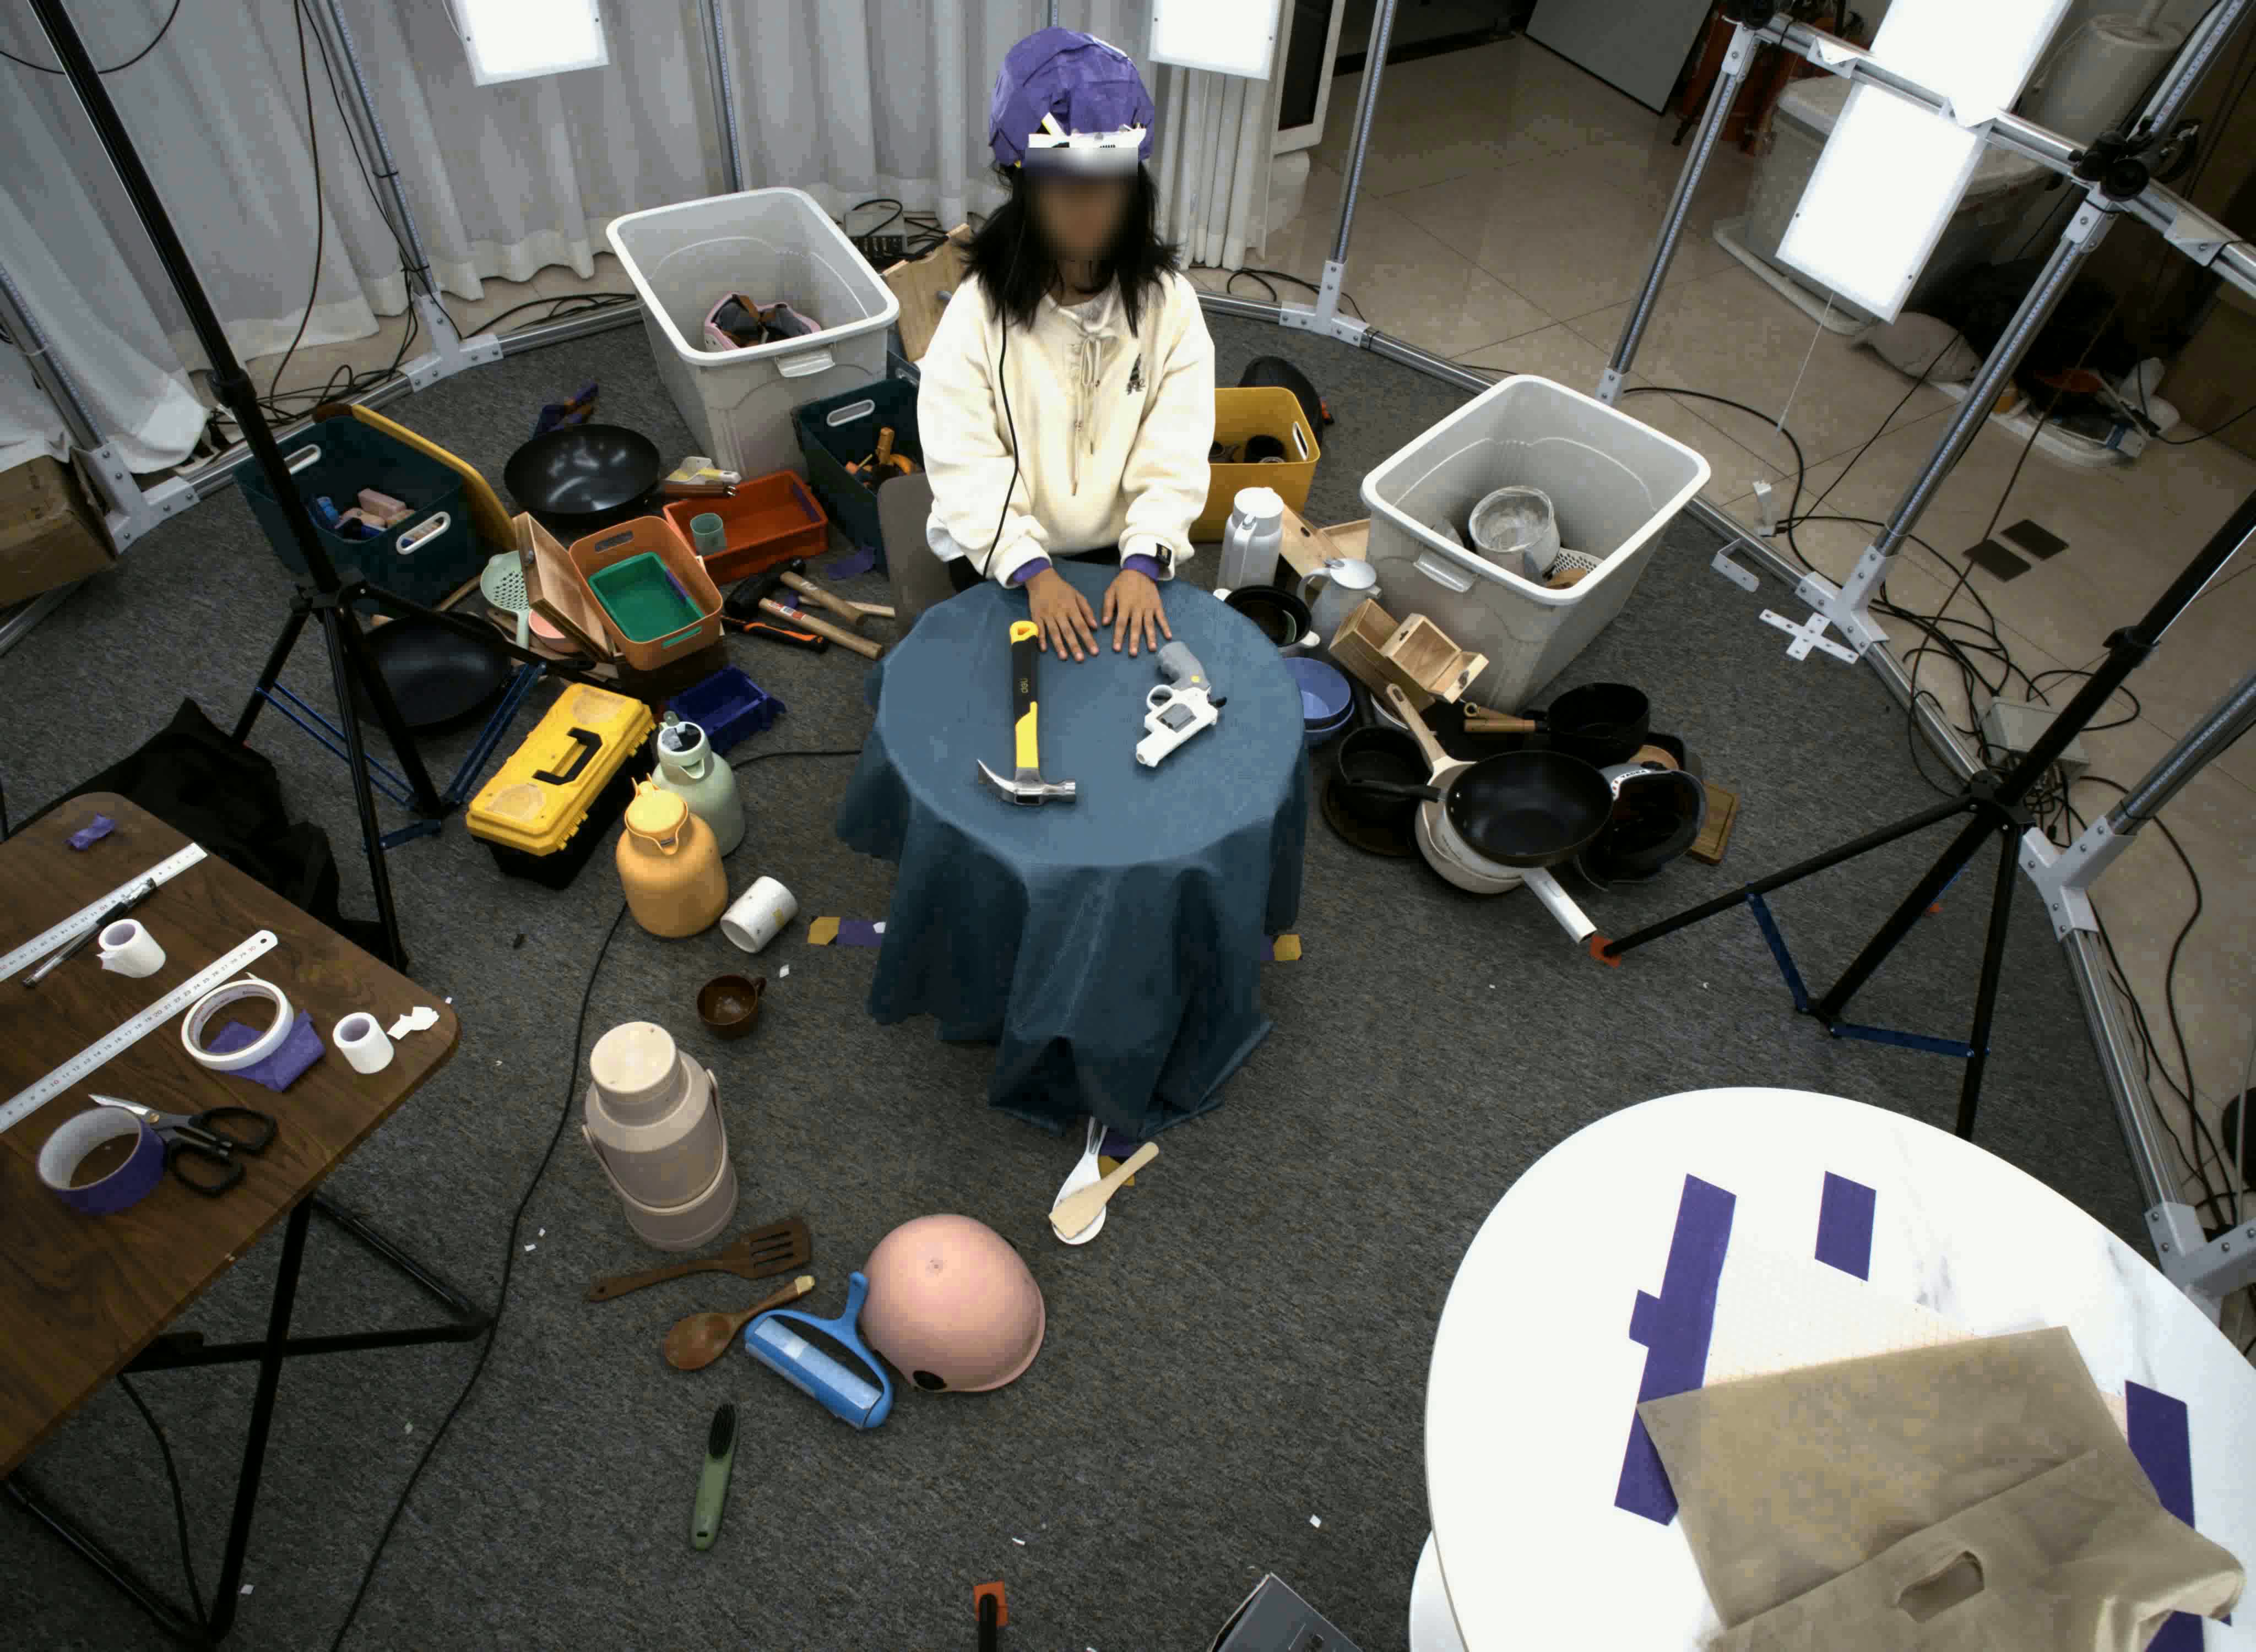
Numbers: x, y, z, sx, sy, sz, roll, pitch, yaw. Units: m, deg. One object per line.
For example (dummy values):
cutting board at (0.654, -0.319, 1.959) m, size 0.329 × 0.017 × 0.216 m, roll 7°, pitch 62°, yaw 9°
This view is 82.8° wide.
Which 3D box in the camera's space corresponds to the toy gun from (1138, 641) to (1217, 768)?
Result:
toy gun at (0.053, -0.173, 1.798) m, size 0.143 × 0.038 × 0.211 m, roll 36°, pitch 56°, yaw 23°

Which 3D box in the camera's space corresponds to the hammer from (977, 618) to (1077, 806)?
hammer at (-0.141, -0.166, 1.781) m, size 0.131 × 0.031 × 0.347 m, roll -2°, pitch 50°, yaw -3°
